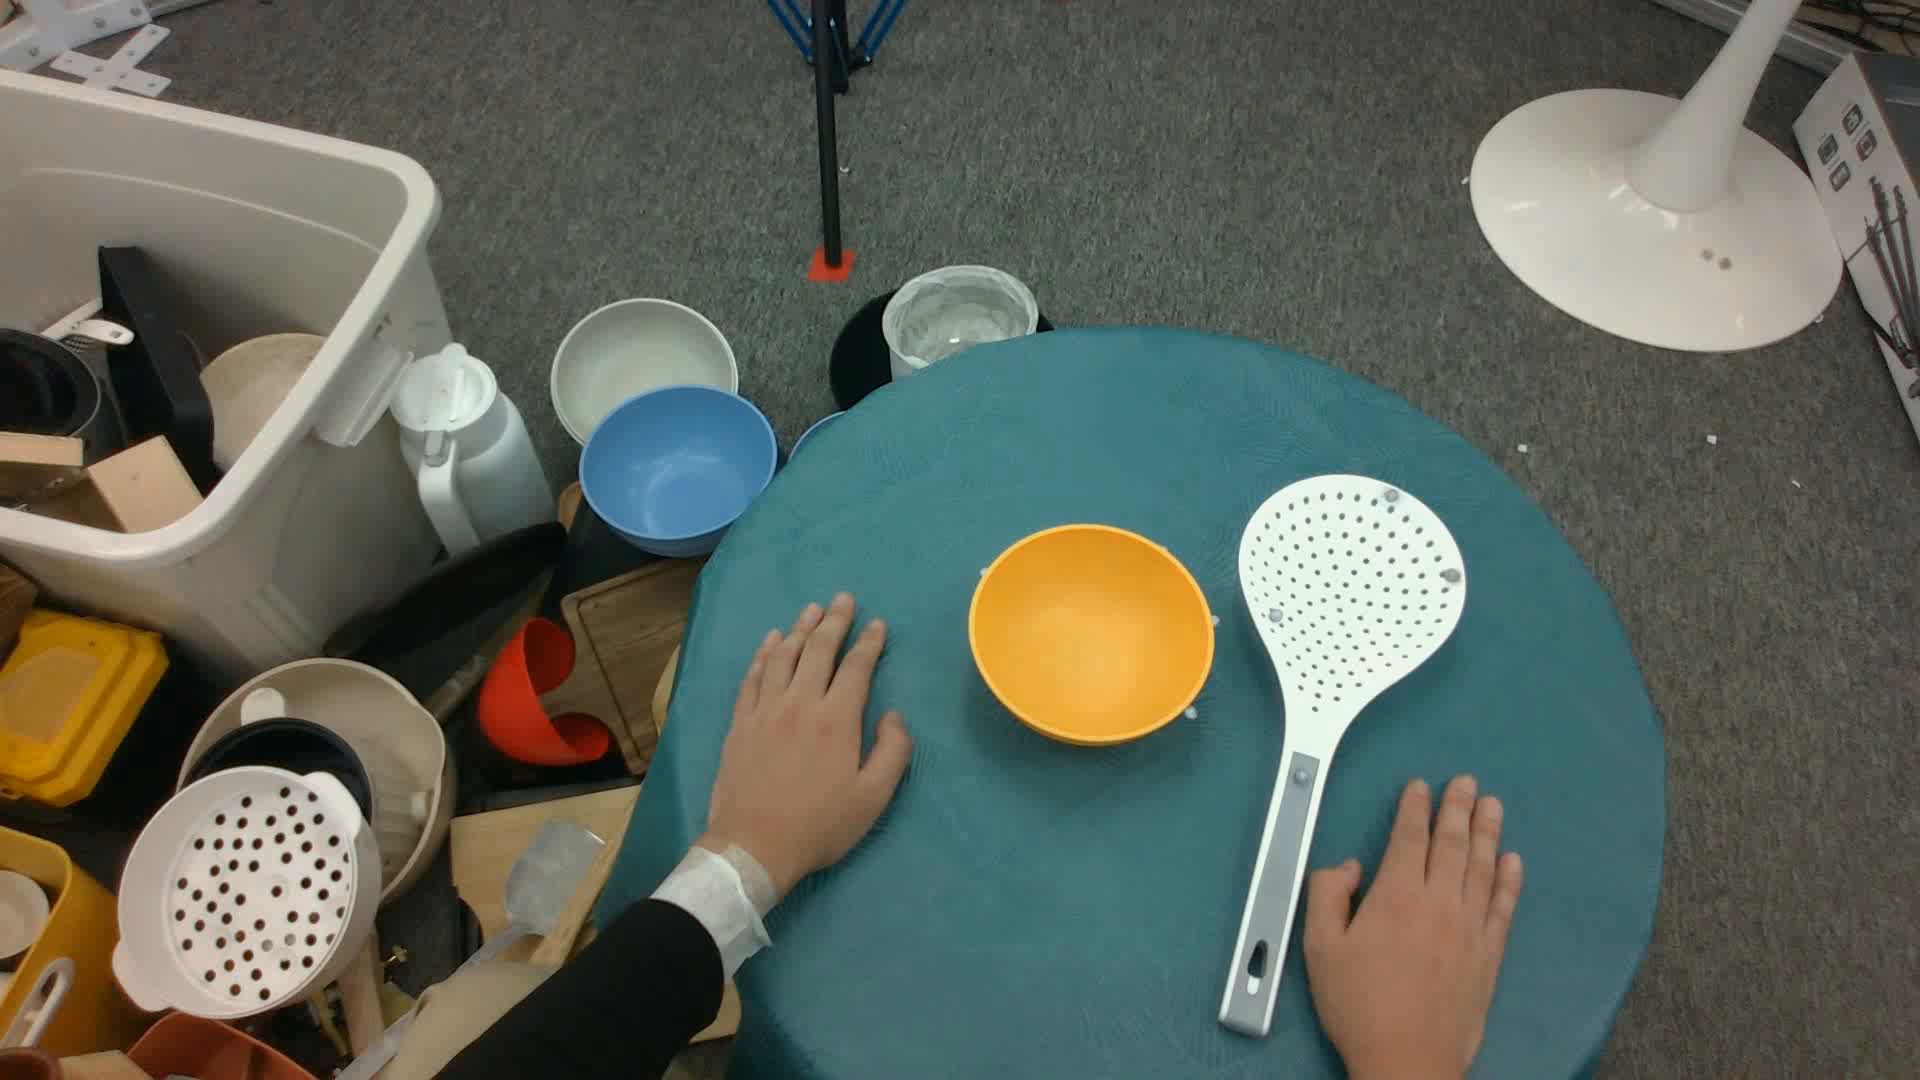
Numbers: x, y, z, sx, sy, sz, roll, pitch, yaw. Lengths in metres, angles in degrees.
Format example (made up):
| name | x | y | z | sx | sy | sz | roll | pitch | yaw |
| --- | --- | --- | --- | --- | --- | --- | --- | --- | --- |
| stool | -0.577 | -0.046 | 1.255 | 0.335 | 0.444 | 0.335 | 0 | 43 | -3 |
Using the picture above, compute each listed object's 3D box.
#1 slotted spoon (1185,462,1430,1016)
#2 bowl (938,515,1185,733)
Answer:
| name | x | y | z | sx | sy | sz | roll | pitch | yaw |
| --- | --- | --- | --- | --- | --- | --- | --- | --- | --- |
| slotted spoon | 0.189 | 0.105 | 0.814 | 0.136 | 0.045 | 0.351 | 17 | 59 | 8 |
| bowl | 0.059 | 0.059 | 0.829 | 0.145 | 0.060 | 0.146 | 1 | 57 | -1 |
